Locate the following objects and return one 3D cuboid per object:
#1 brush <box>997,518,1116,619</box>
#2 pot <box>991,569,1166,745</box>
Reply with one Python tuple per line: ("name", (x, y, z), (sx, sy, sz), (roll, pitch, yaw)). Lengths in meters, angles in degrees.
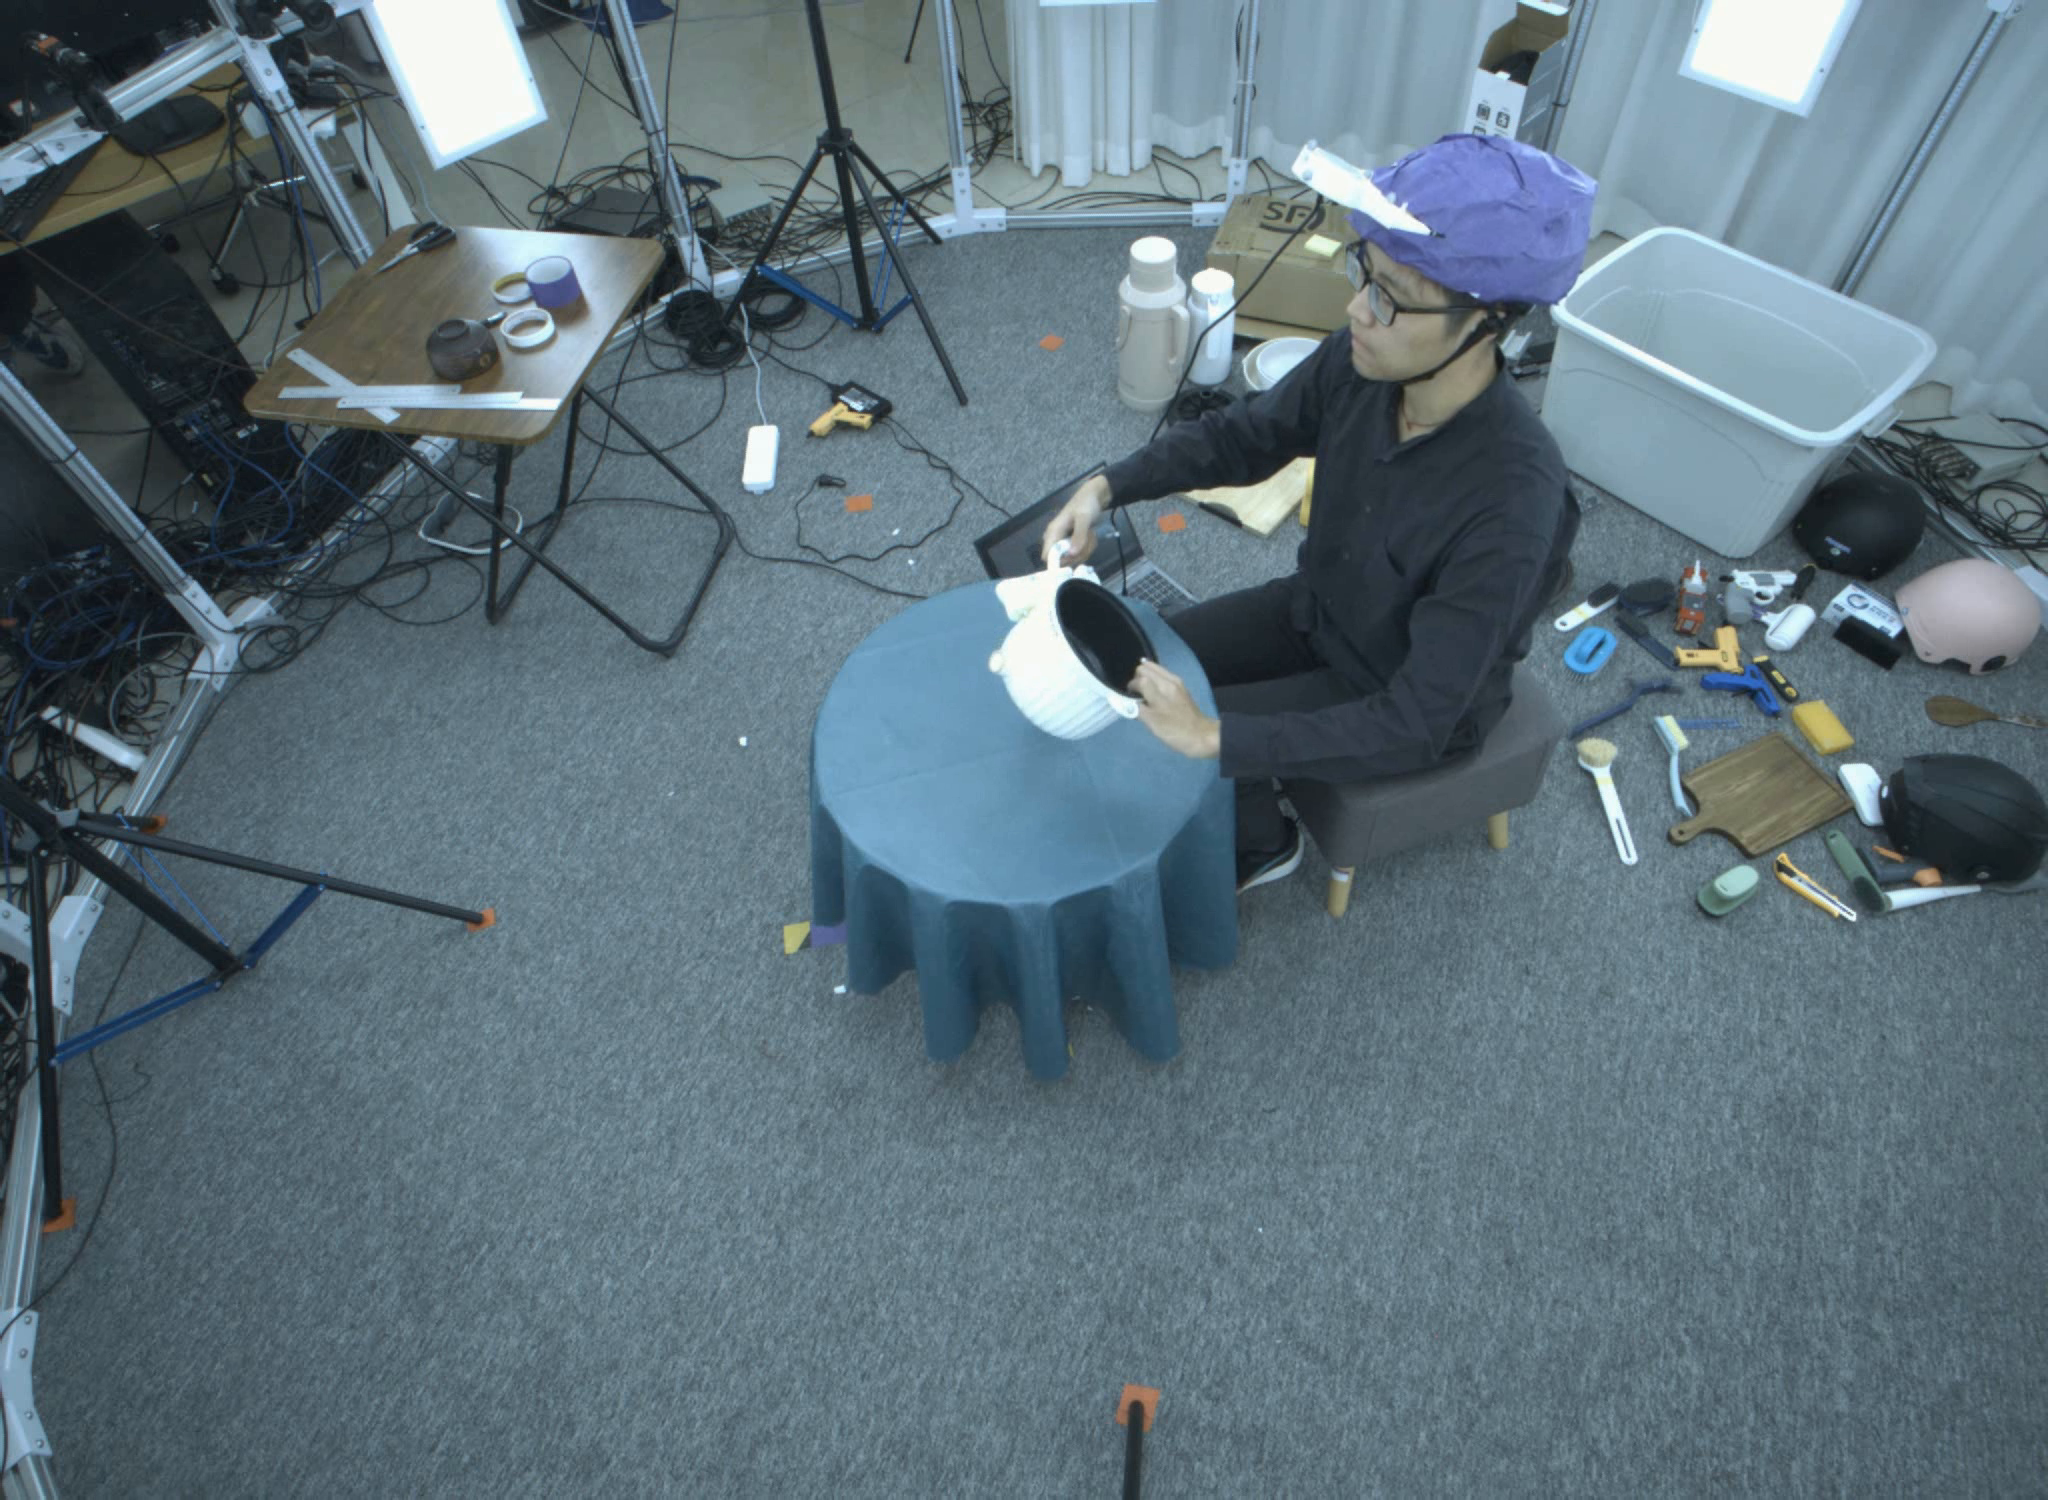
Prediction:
("brush", (0.073, -0.247, 1.691), (0.081, 0.085, 0.328), (3, 24, 31))
("pot", (0.064, -0.102, 1.567), (0.141, 0.195, 0.237), (-35, 56, 32))
